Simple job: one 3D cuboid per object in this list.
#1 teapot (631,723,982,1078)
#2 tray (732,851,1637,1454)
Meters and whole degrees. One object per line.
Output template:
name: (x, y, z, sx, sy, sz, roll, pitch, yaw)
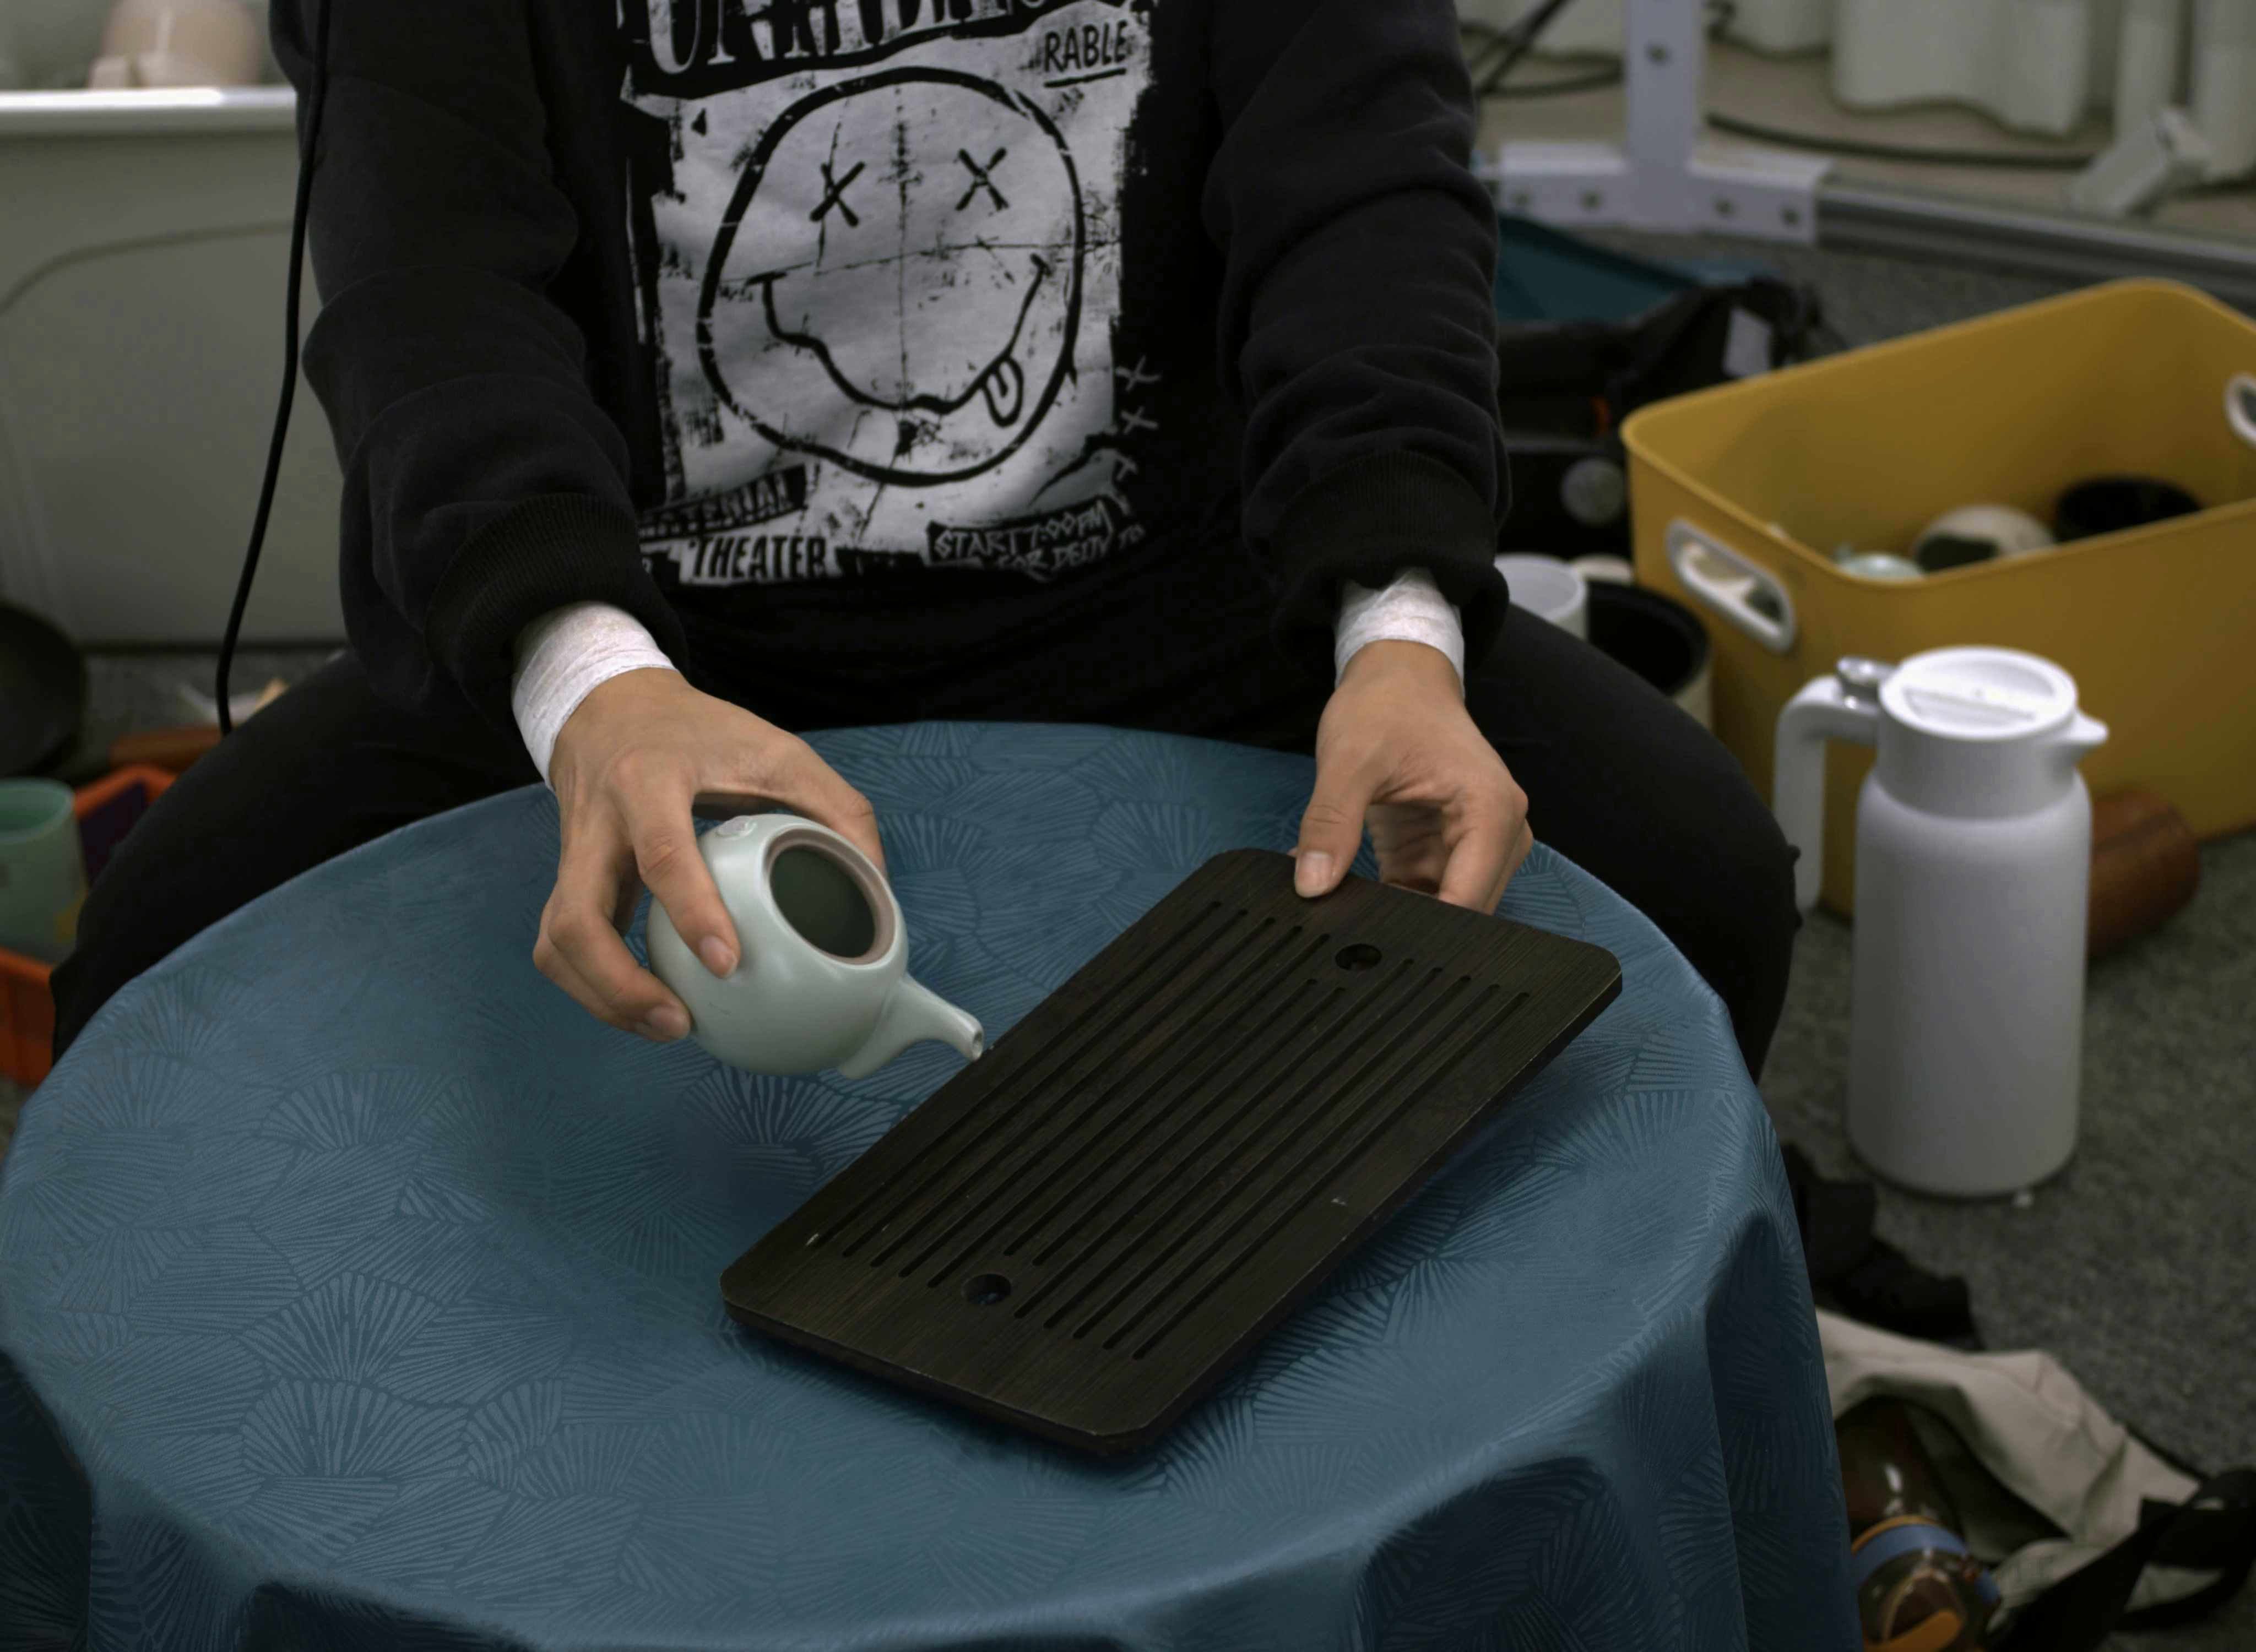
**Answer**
teapot: (-0.115, 0.037, 1.839, 0.073, 0.144, 0.090, -38, 3, 33)
tray: (0.023, 0.104, 1.850, 0.169, 0.018, 0.311, 15, 36, 32)
